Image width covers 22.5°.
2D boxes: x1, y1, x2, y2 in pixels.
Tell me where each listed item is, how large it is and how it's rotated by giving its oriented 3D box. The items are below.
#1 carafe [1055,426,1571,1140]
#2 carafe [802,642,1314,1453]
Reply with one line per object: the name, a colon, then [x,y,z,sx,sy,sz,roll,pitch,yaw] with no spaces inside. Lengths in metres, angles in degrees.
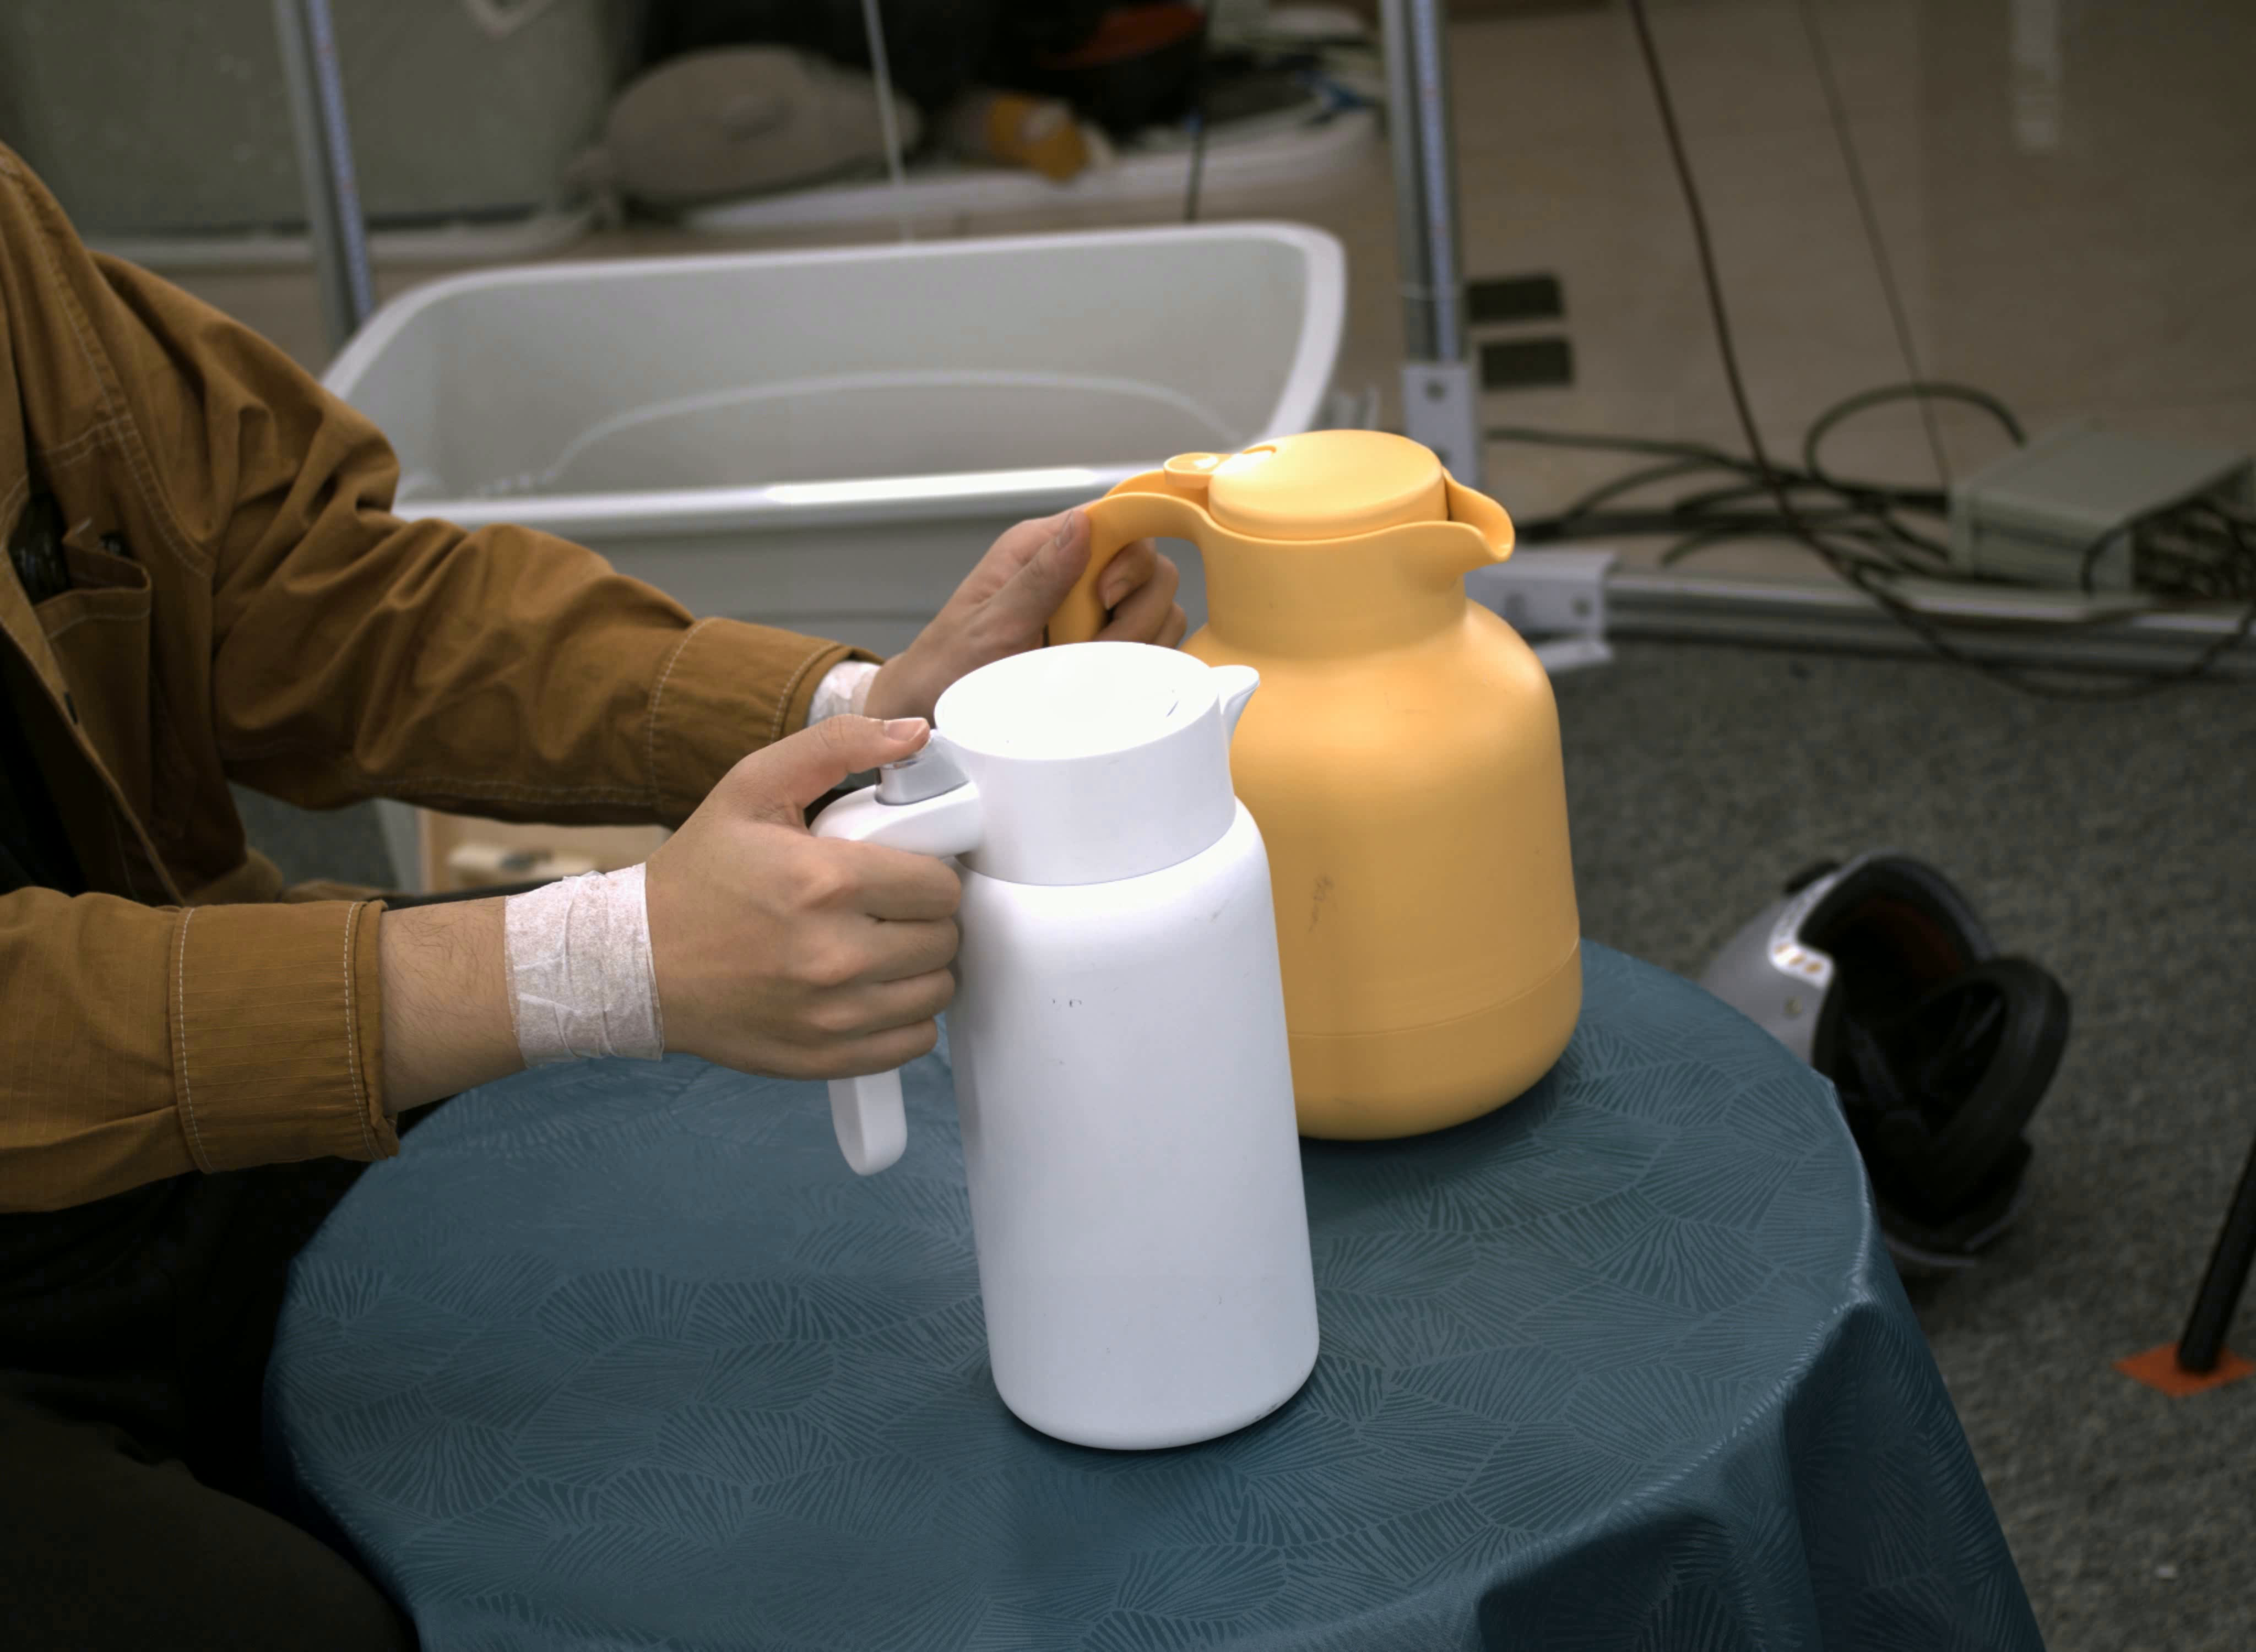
carafe: [0.068,-0.024,2.167,0.201,0.264,0.161,11,28,30]
carafe: [-0.019,0.082,1.956,0.172,0.273,0.122,-18,29,-23]
